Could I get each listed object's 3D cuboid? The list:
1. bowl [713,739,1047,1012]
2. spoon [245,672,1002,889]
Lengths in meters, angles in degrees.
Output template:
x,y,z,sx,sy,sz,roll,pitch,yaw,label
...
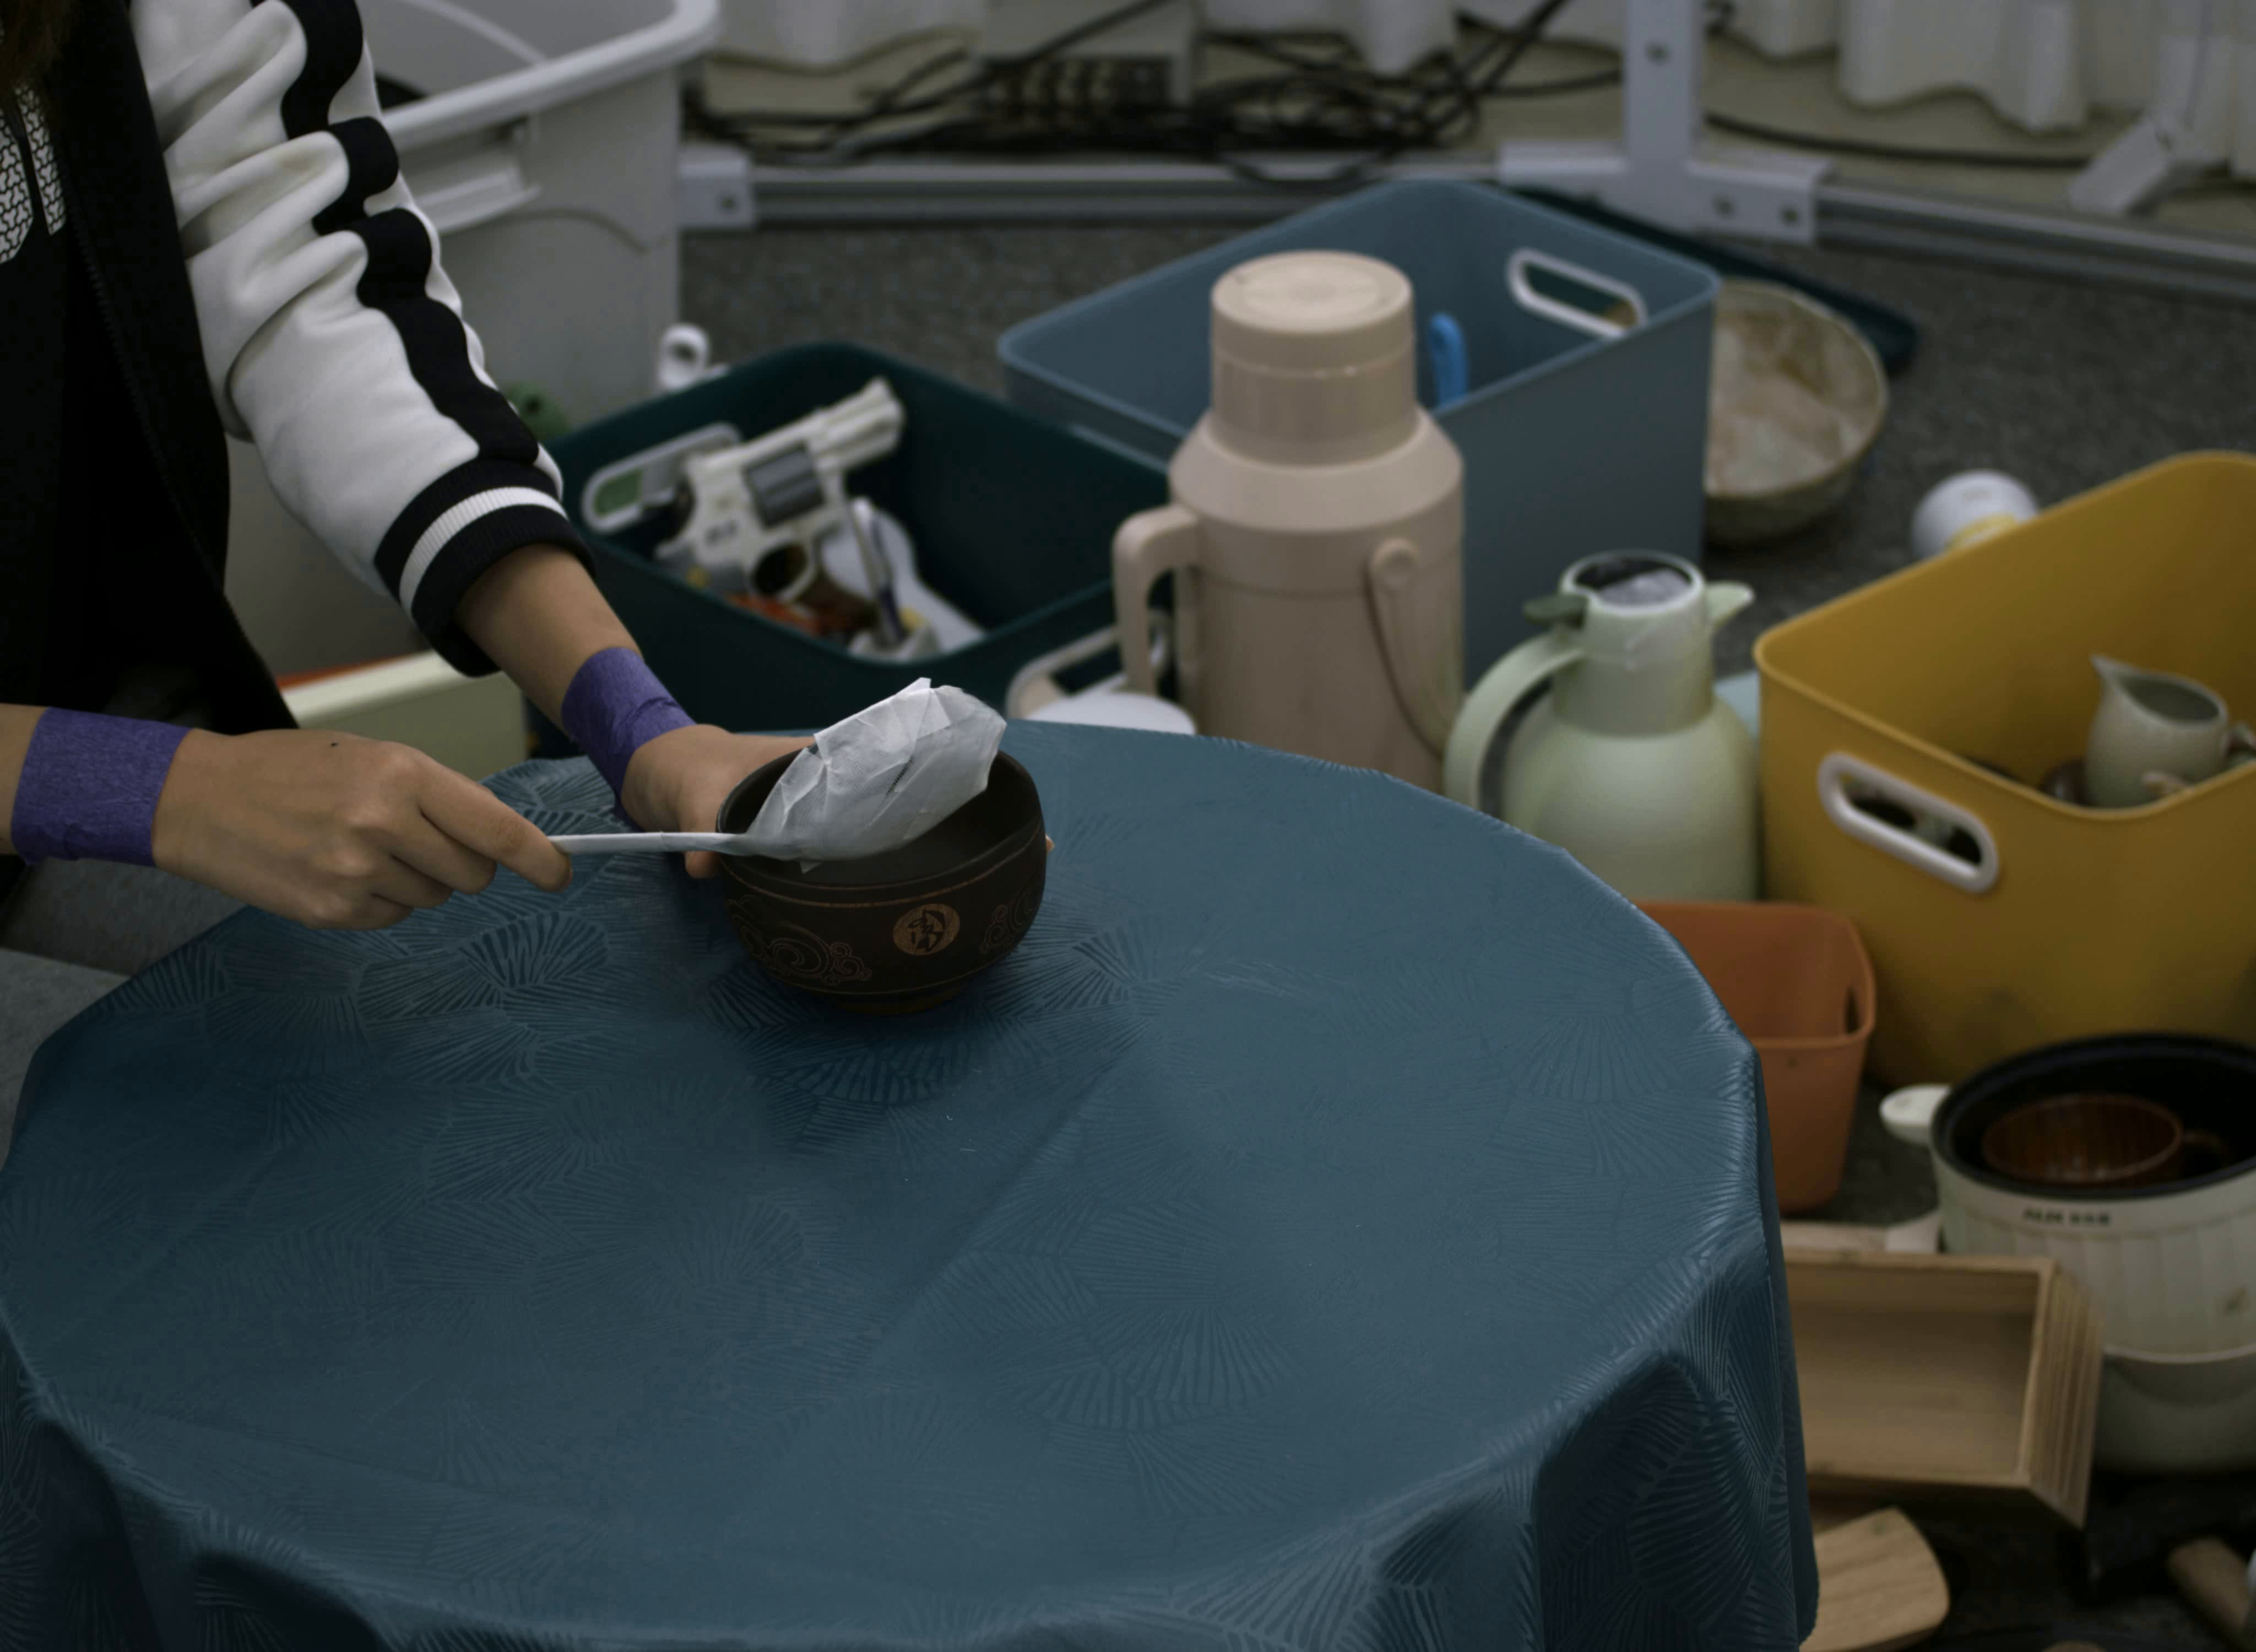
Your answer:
x,y,z,sx,sy,sz,roll,pitch,yaw,label
-0.086,0.022,1.983,0.117,0.069,0.120,-3,28,2,bowl
-0.178,-0.011,1.968,0.275,0.099,0.060,-3,61,18,spoon
